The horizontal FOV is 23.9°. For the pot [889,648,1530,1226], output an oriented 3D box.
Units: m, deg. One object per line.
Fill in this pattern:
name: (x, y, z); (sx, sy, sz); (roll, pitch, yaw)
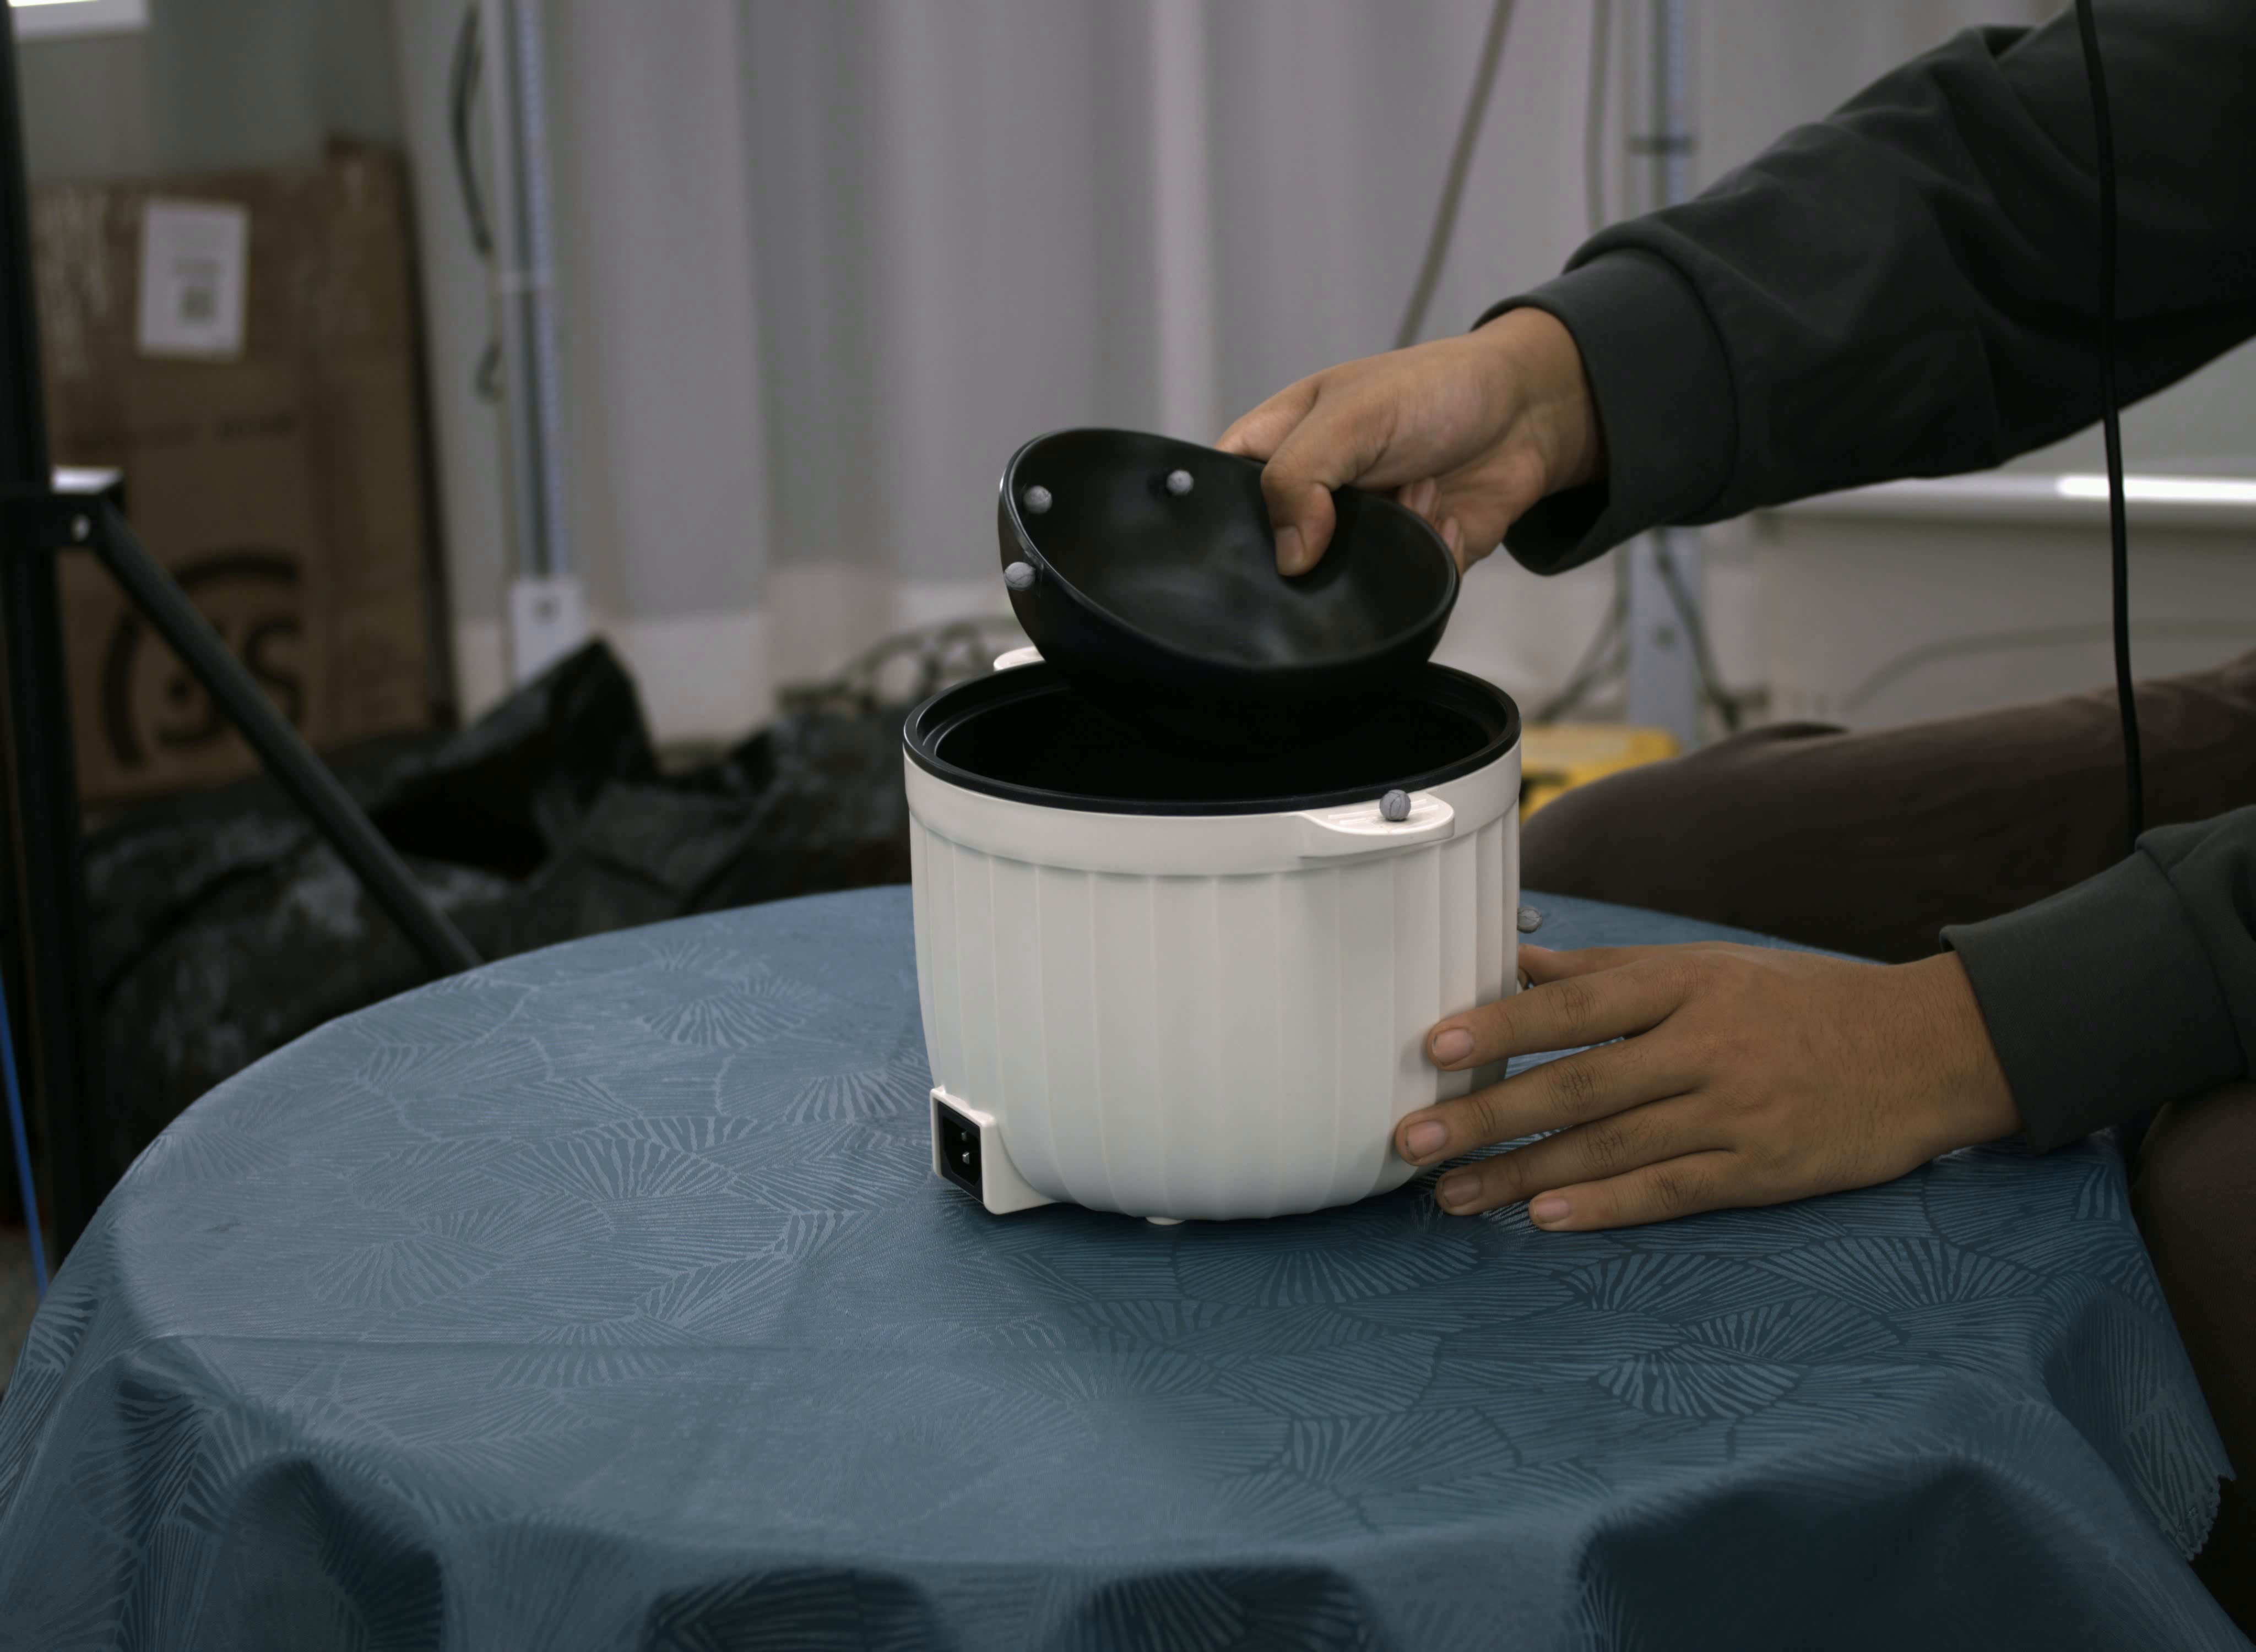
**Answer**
pot: (0.030, 0.031, 1.570); (0.187, 0.142, 0.245); (-13, 20, -25)

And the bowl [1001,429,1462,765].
bowl: (0.024, -0.062, 1.560); (0.137, 0.067, 0.170); (16, 26, 1)
